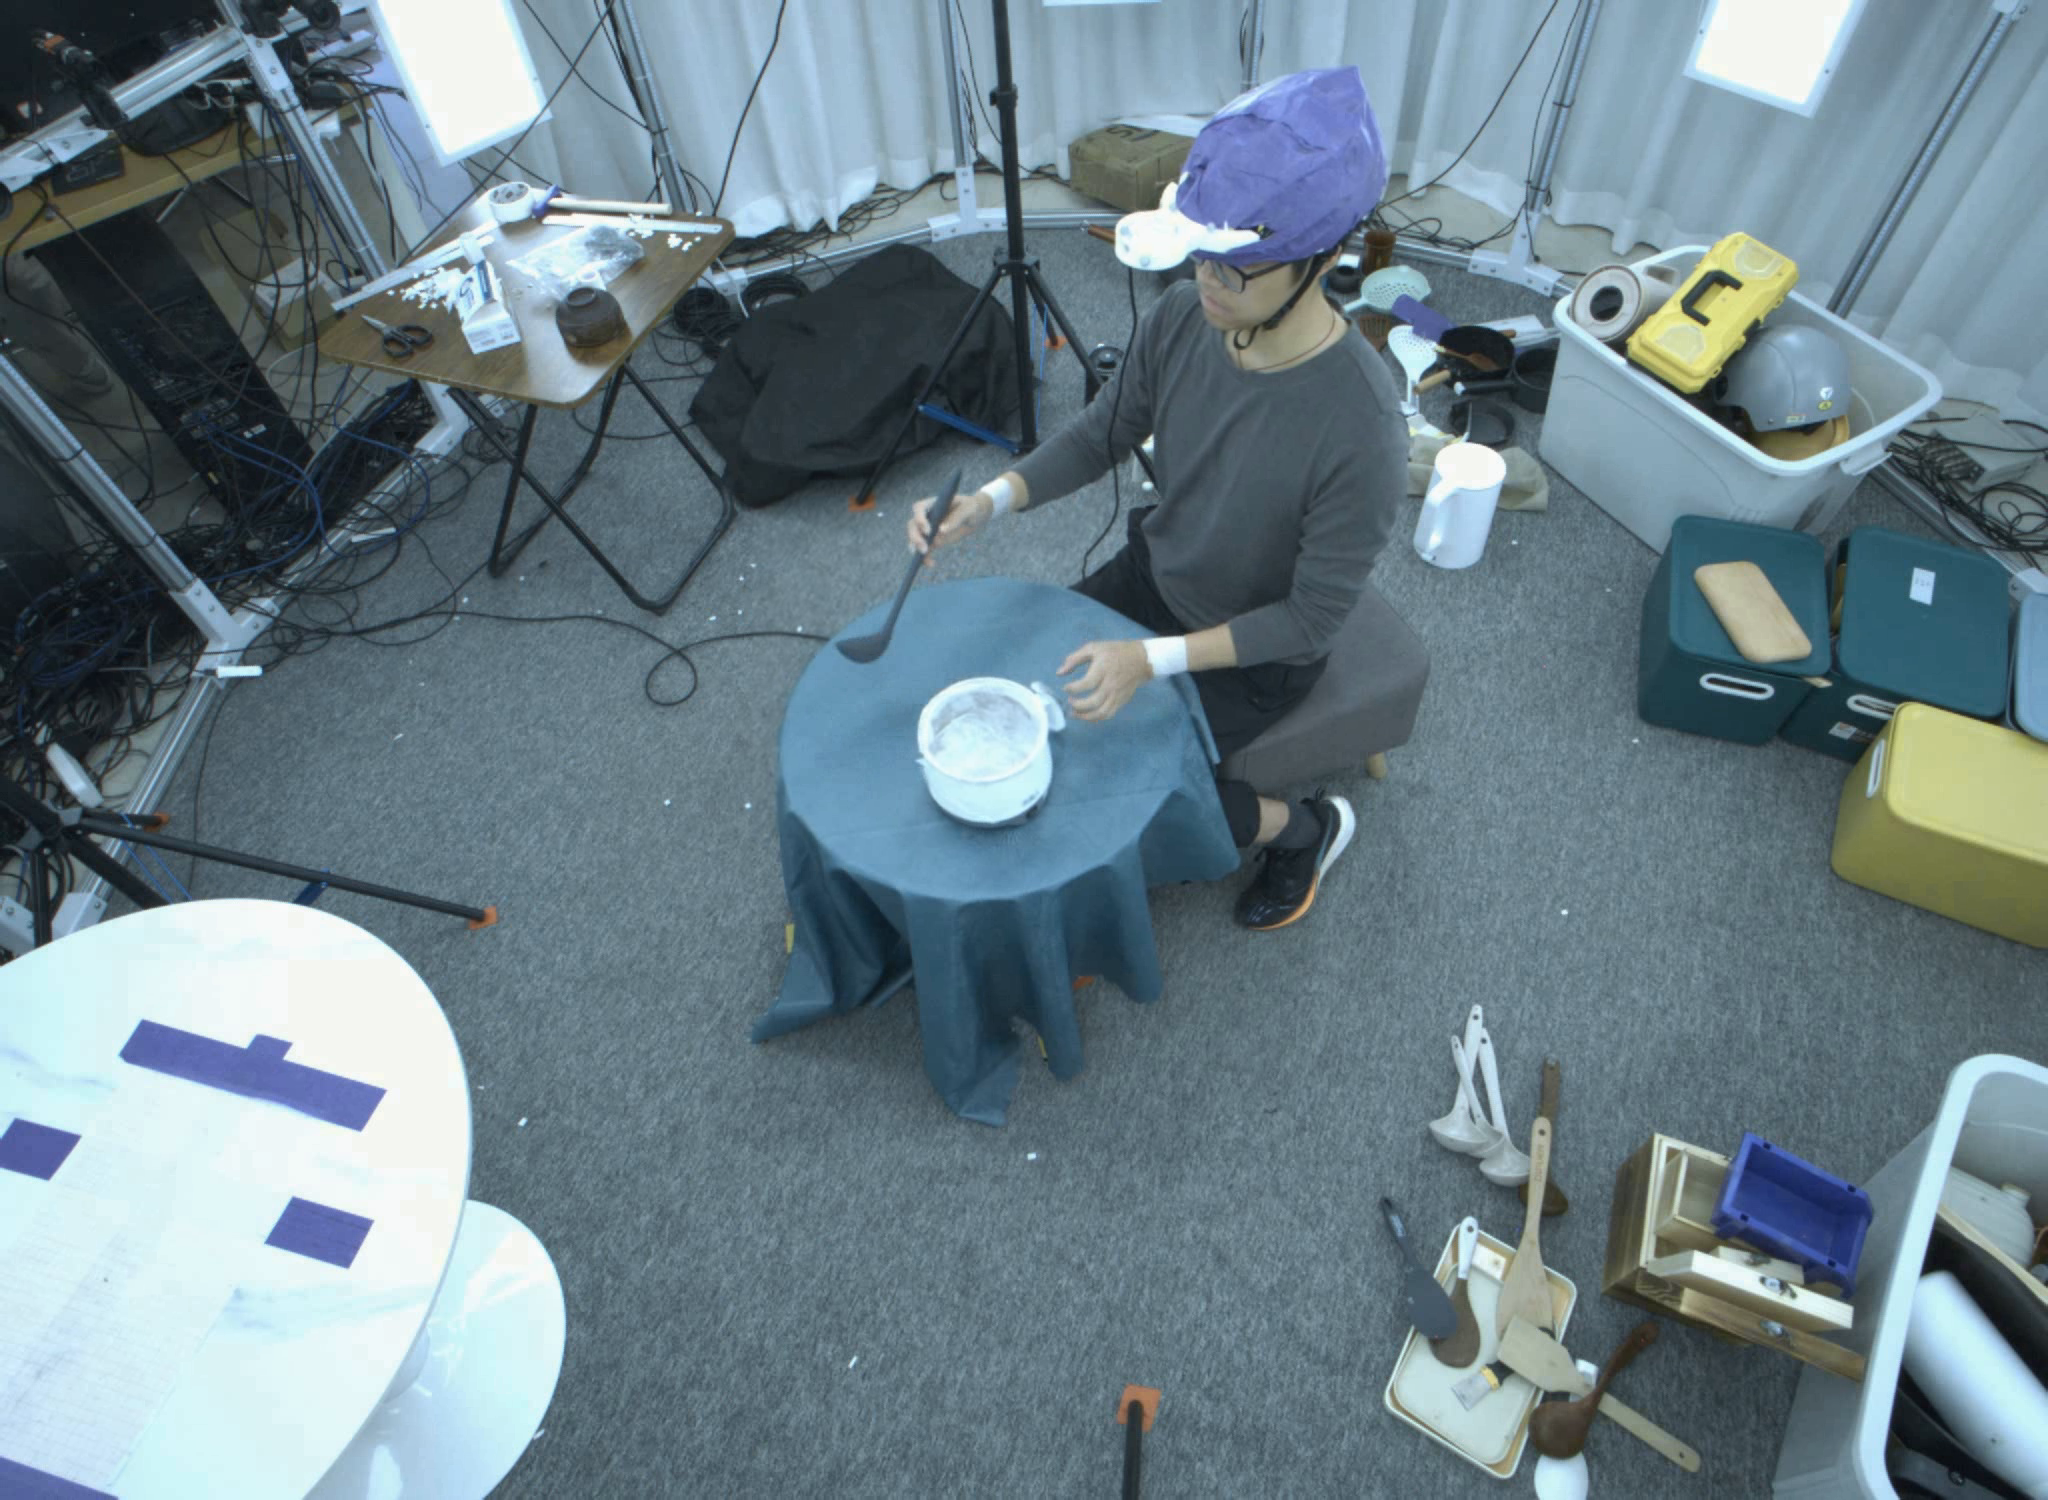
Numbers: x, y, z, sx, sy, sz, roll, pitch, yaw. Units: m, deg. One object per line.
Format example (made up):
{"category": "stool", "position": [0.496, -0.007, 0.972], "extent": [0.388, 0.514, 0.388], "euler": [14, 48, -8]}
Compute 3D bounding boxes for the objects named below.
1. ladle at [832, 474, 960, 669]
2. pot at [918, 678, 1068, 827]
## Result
{"category": "ladle", "position": [-0.177, -0.256, 1.726], "extent": [0.063, 0.087, 0.314], "euler": [31, 104, 20]}
{"category": "pot", "position": [-0.032, -0.008, 1.718], "extent": [0.175, 0.138, 0.235], "euler": [38, 63, 25]}
